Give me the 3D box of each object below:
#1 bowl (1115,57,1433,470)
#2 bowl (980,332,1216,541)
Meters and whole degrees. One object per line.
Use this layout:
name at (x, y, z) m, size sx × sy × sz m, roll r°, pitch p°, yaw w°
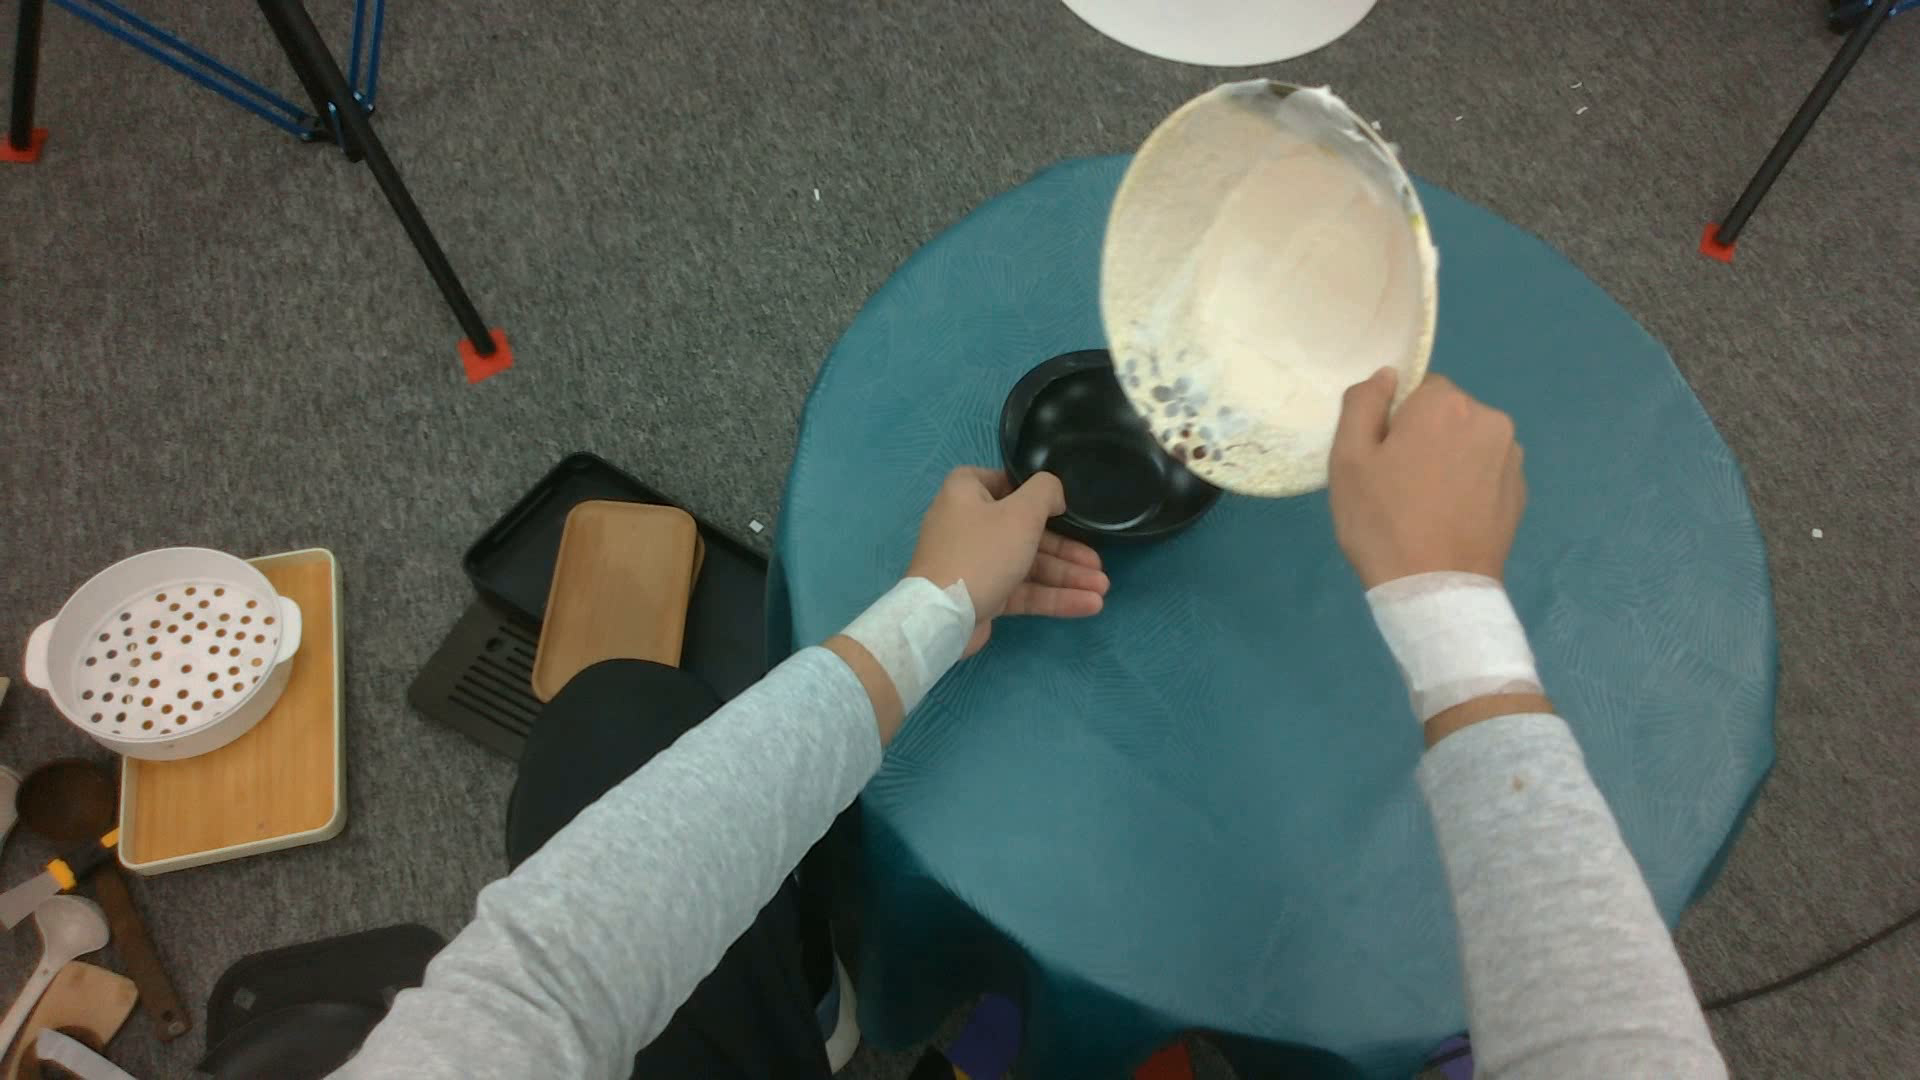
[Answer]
bowl at (0.177, -0.142, 0.712) m, size 0.078 × 0.203 × 0.204 m, roll -13°, pitch 63°, yaw -36°
bowl at (0.080, -0.055, 0.825) m, size 0.140 × 0.049 × 0.140 m, roll 2°, pitch 62°, yaw -3°
